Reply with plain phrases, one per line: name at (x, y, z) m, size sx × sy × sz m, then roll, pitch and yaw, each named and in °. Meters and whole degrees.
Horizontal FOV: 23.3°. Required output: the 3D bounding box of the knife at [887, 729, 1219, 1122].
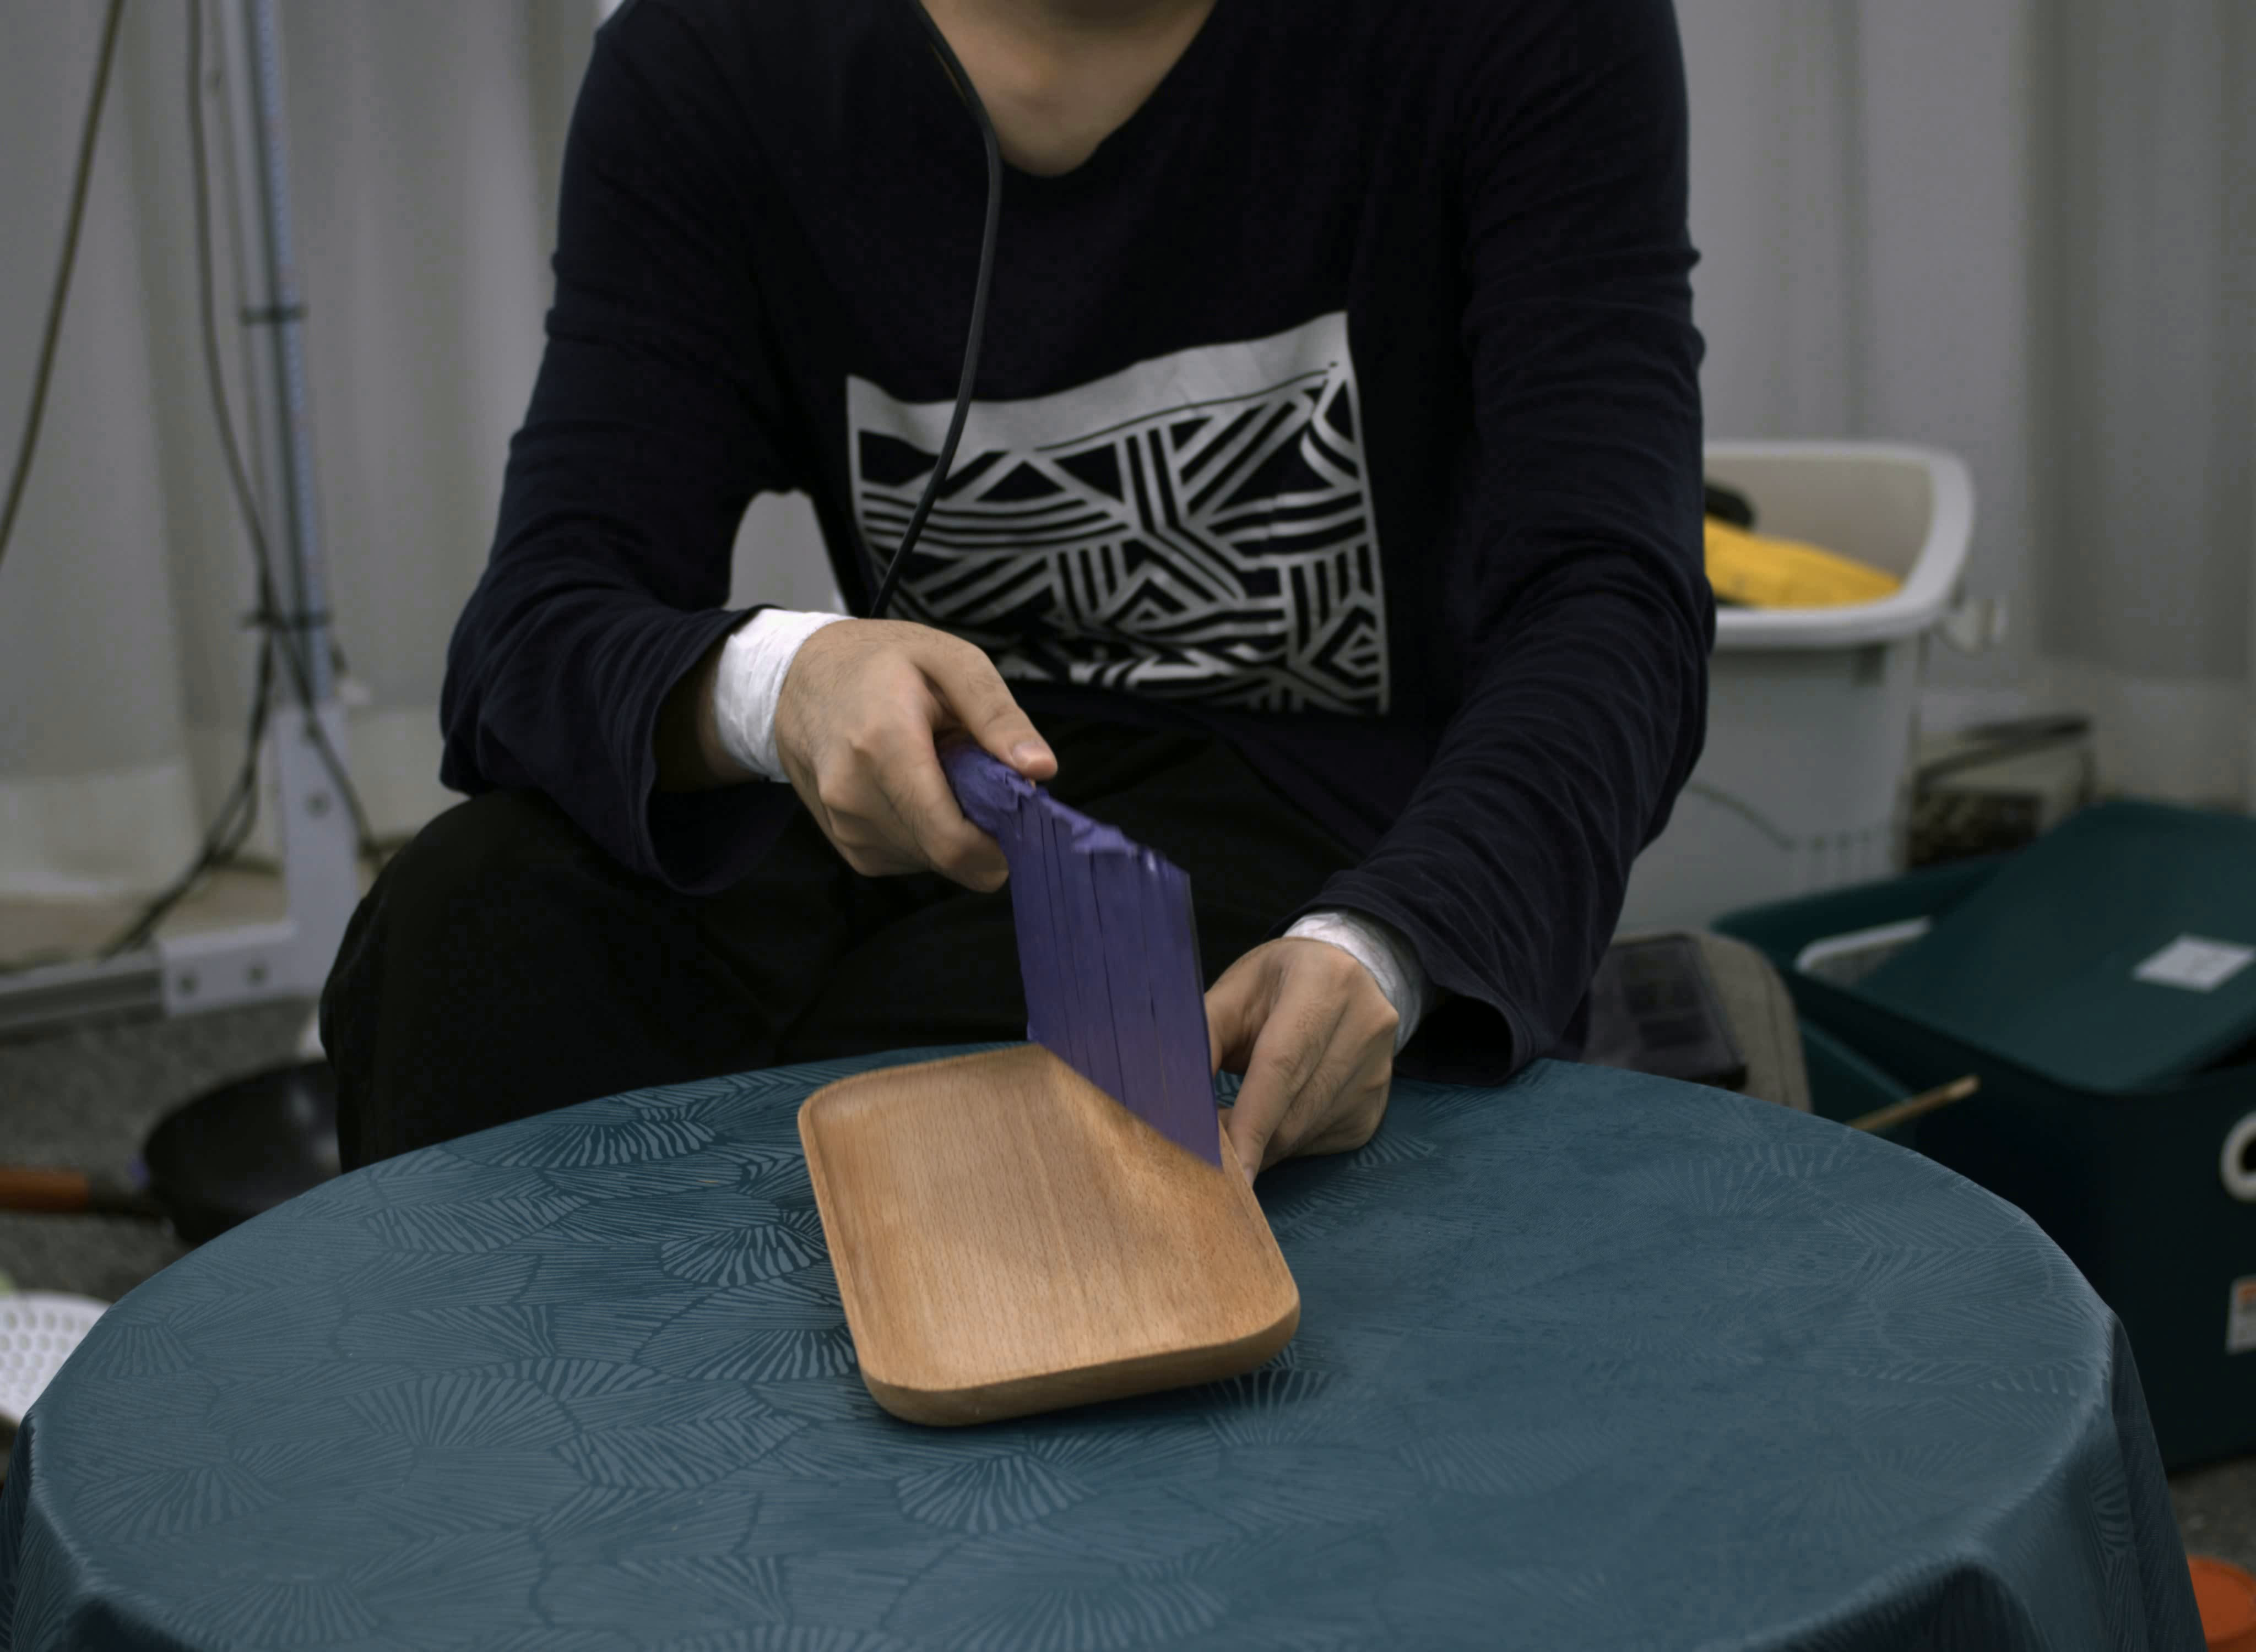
knife at (-0.026, 0.030, 1.709) m, size 0.032 × 0.104 × 0.317 m, roll -8°, pitch 9°, yaw -13°

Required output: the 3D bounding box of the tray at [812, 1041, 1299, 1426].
tray at (-0.025, 0.117, 1.637) m, size 0.130 × 0.023 × 0.253 m, roll -6°, pitch 18°, yaw -4°
